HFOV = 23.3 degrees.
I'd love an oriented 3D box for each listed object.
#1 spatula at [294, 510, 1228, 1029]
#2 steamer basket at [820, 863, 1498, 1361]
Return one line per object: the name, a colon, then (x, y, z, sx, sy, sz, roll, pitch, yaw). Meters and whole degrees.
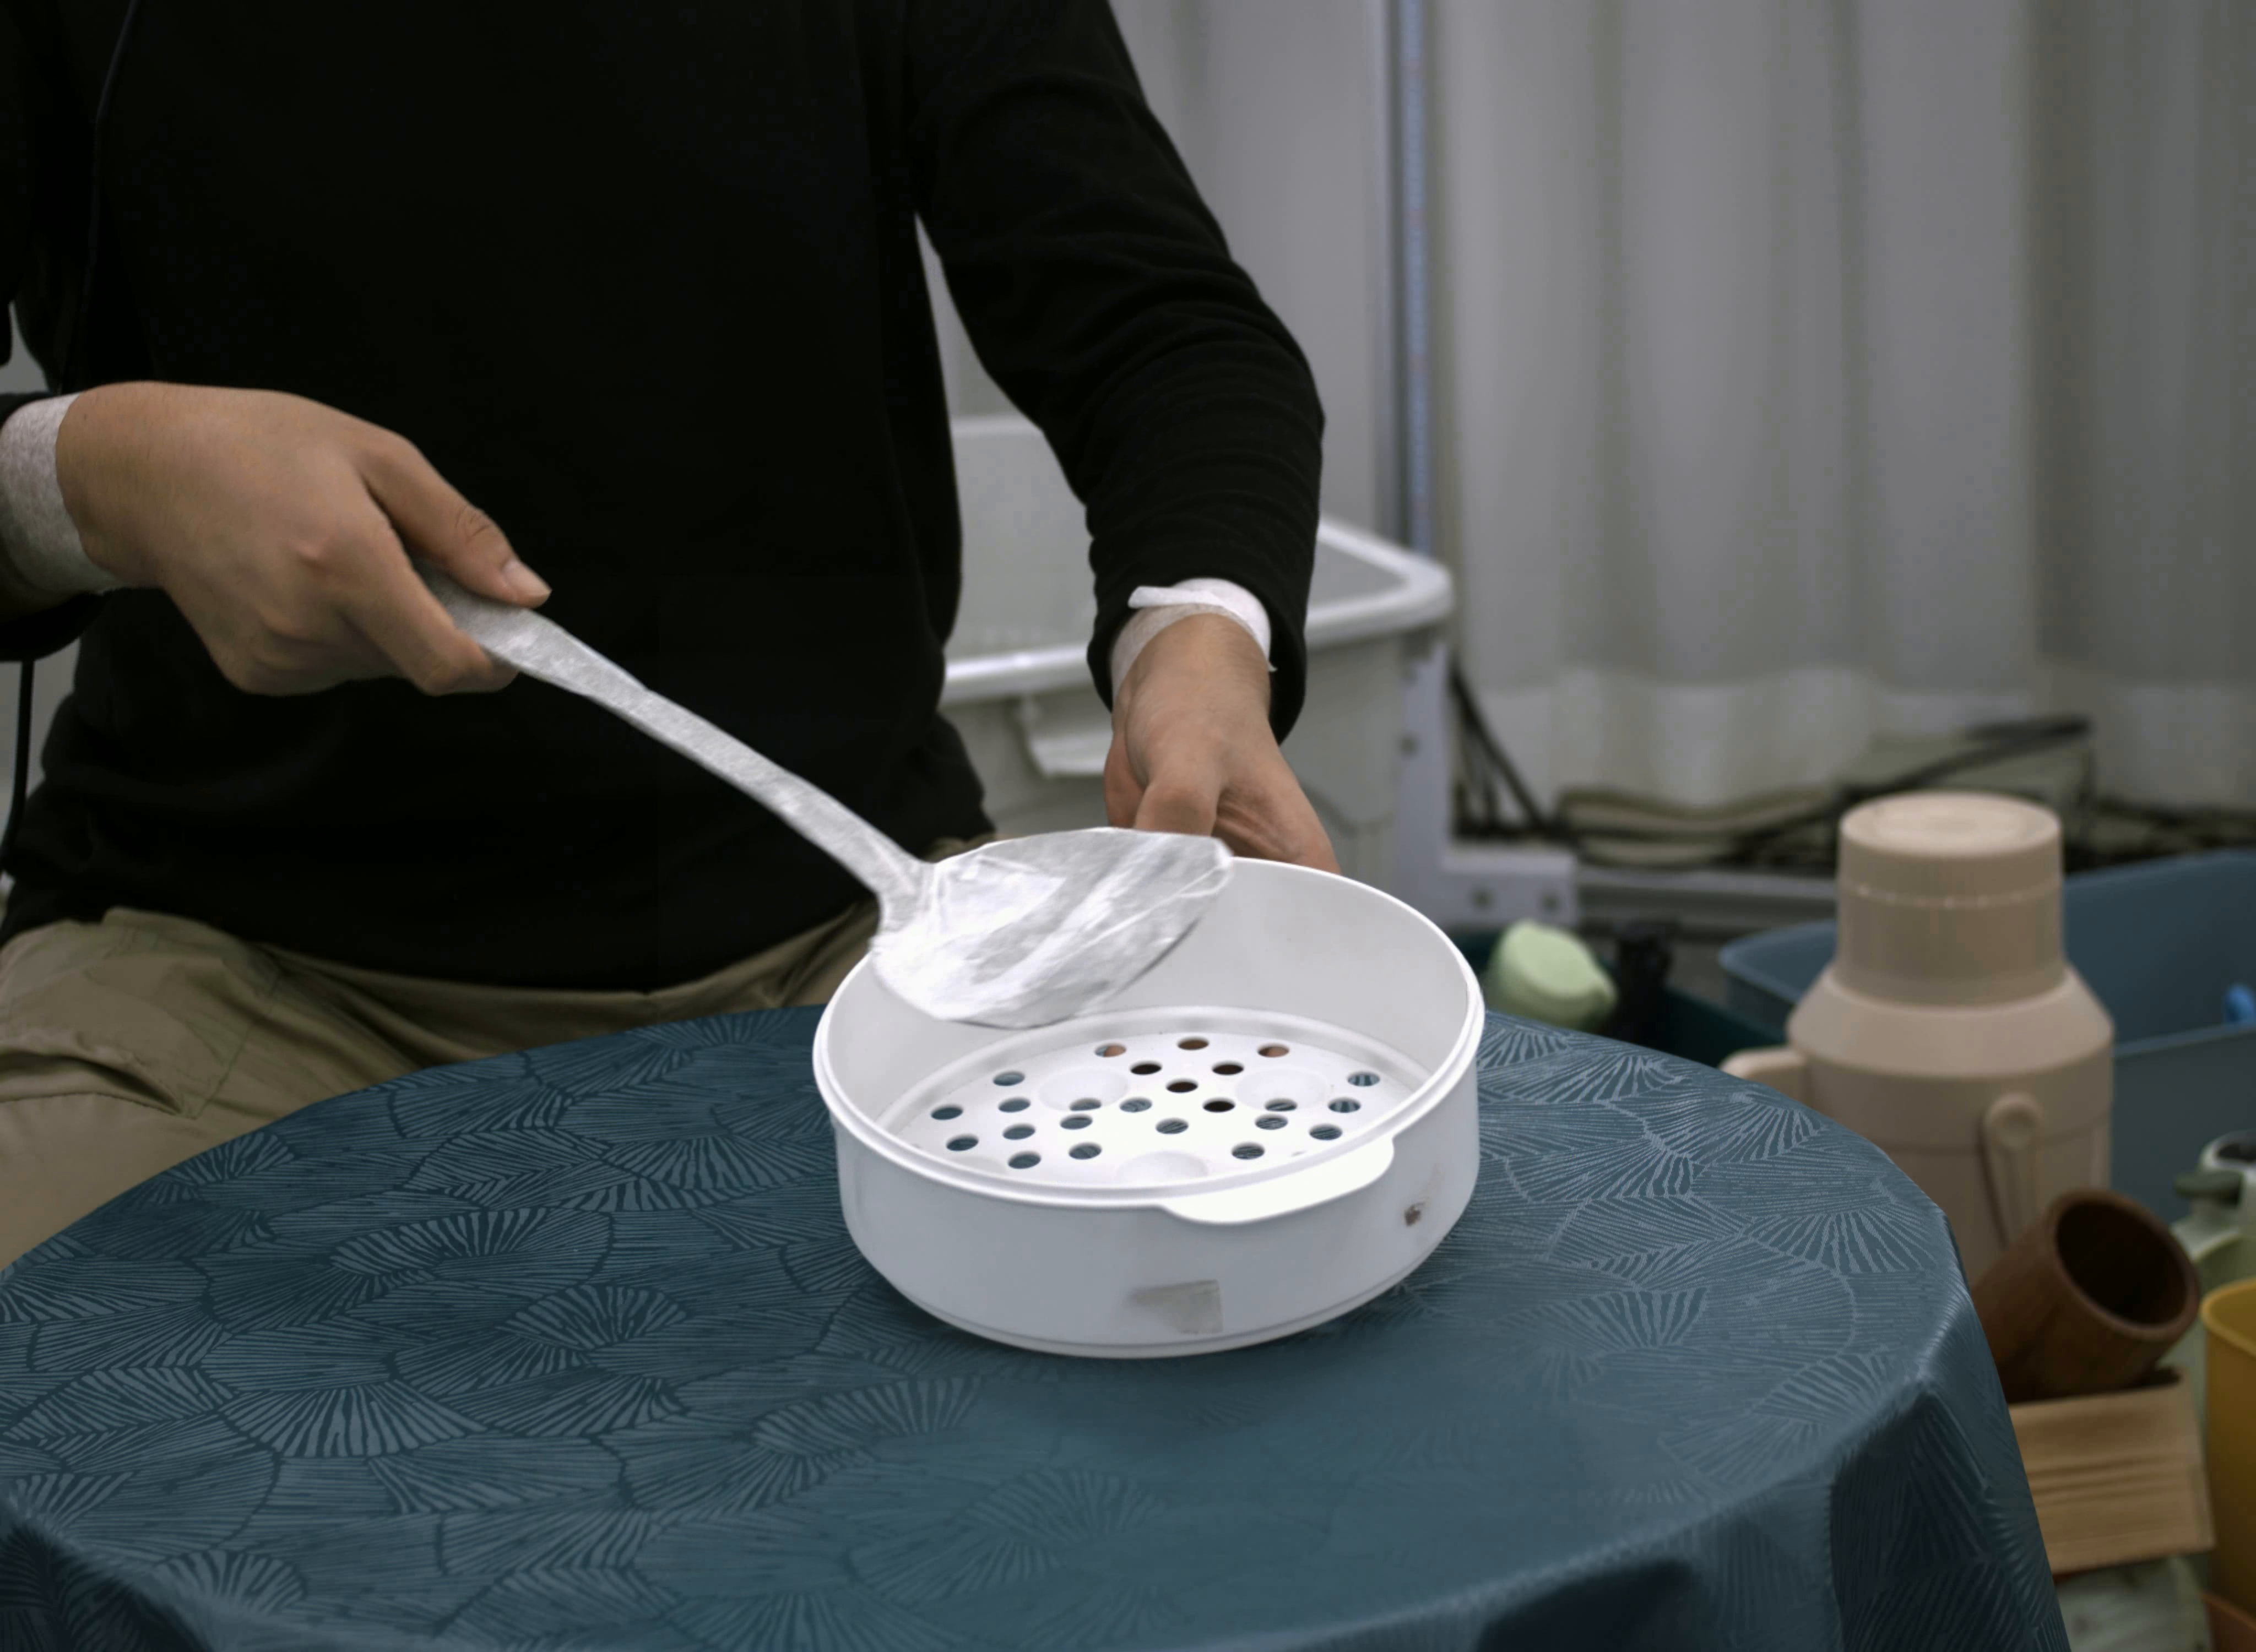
spatula: (-0.130, -0.030, 1.642, 0.368, 0.044, 0.099, 29, 53, 29)
steamer basket: (0.010, 0.085, 1.633, 0.201, 0.068, 0.233, -13, 28, -18)
